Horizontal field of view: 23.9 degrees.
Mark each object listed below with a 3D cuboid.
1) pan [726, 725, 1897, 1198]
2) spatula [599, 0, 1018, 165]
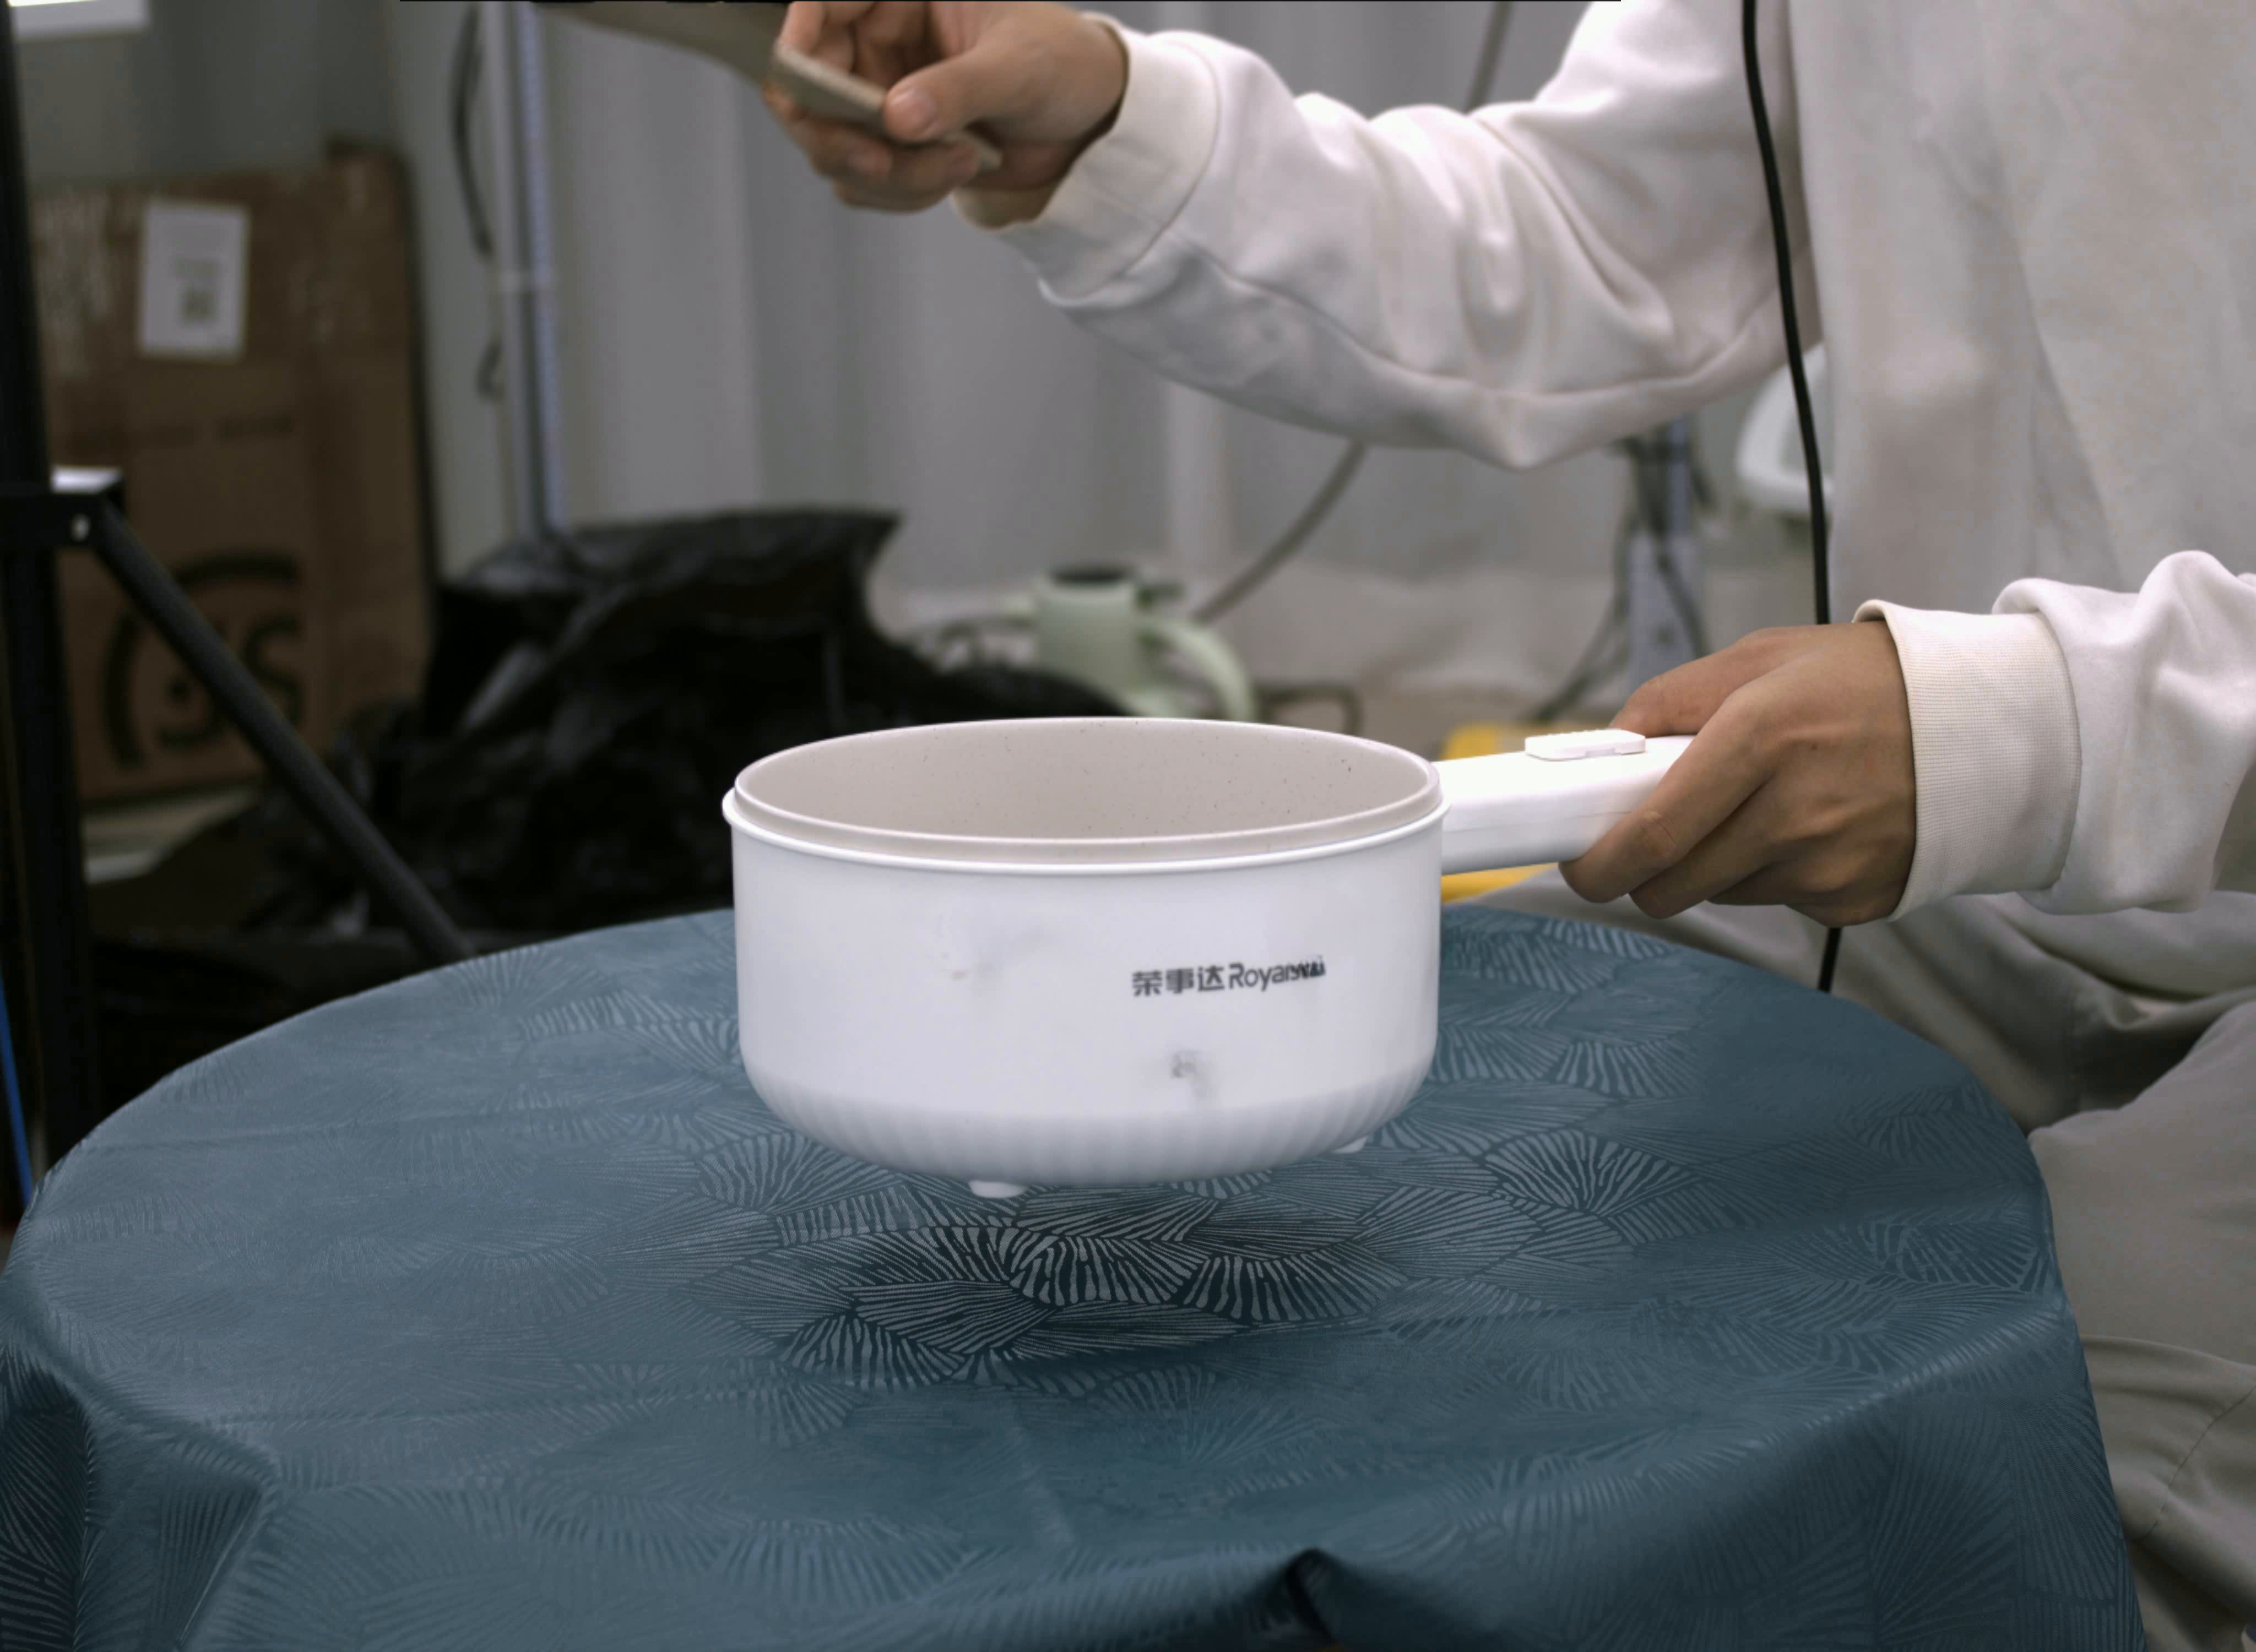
[{"bbox_3d":[0.058,0.031,1.501,0.347,0.102,0.205,-5,10,-24],"label":"pan"},{"bbox_3d":[-0.102,-0.241,1.672,0.073,0.011,0.287,5,-5,23],"label":"spatula"}]
